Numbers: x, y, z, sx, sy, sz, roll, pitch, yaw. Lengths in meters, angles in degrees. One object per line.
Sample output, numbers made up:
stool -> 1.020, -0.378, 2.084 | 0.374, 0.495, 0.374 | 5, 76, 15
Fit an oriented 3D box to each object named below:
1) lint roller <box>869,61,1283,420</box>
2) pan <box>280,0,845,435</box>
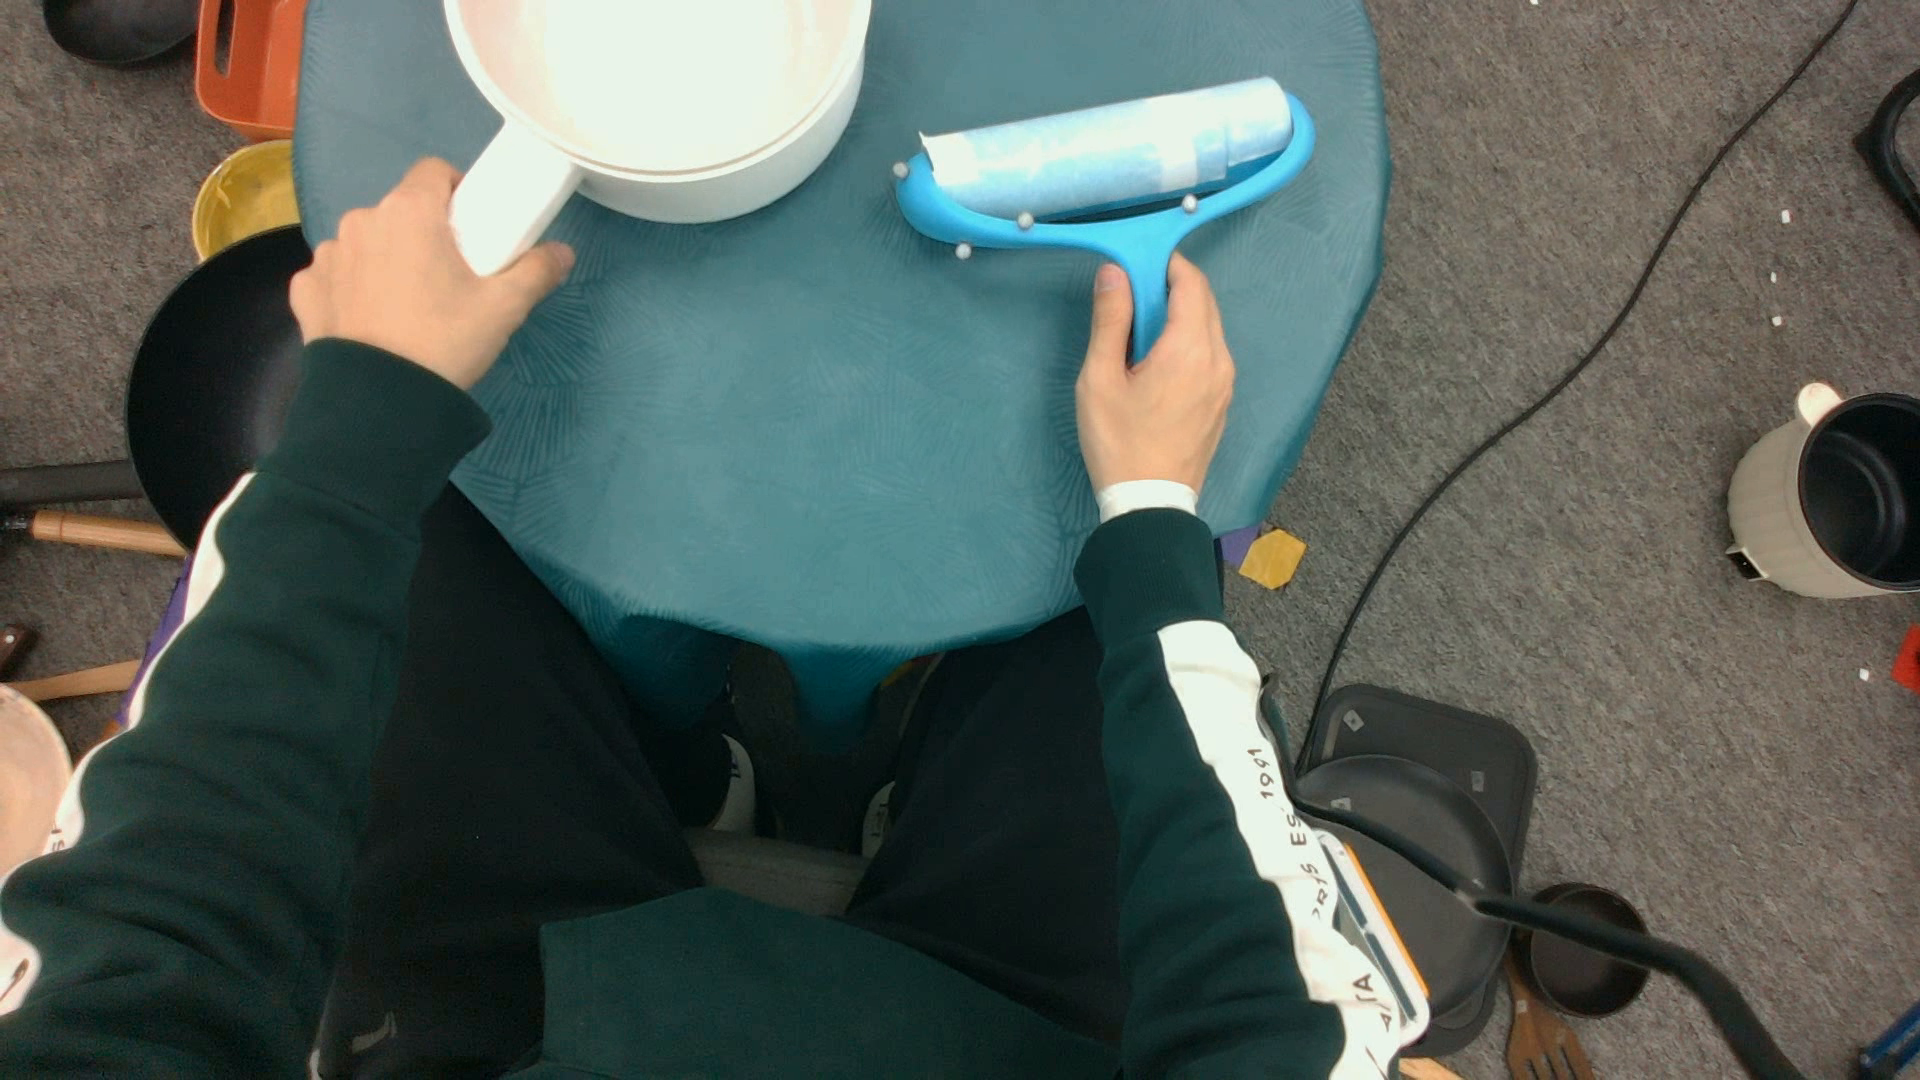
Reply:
lint roller -> 0.080, -0.157, 0.737 | 0.229, 0.068, 0.180 | -16, 83, -10
pan -> -0.201, -0.202, 0.691 | 0.201, 0.102, 0.355 | 33, 82, -2
